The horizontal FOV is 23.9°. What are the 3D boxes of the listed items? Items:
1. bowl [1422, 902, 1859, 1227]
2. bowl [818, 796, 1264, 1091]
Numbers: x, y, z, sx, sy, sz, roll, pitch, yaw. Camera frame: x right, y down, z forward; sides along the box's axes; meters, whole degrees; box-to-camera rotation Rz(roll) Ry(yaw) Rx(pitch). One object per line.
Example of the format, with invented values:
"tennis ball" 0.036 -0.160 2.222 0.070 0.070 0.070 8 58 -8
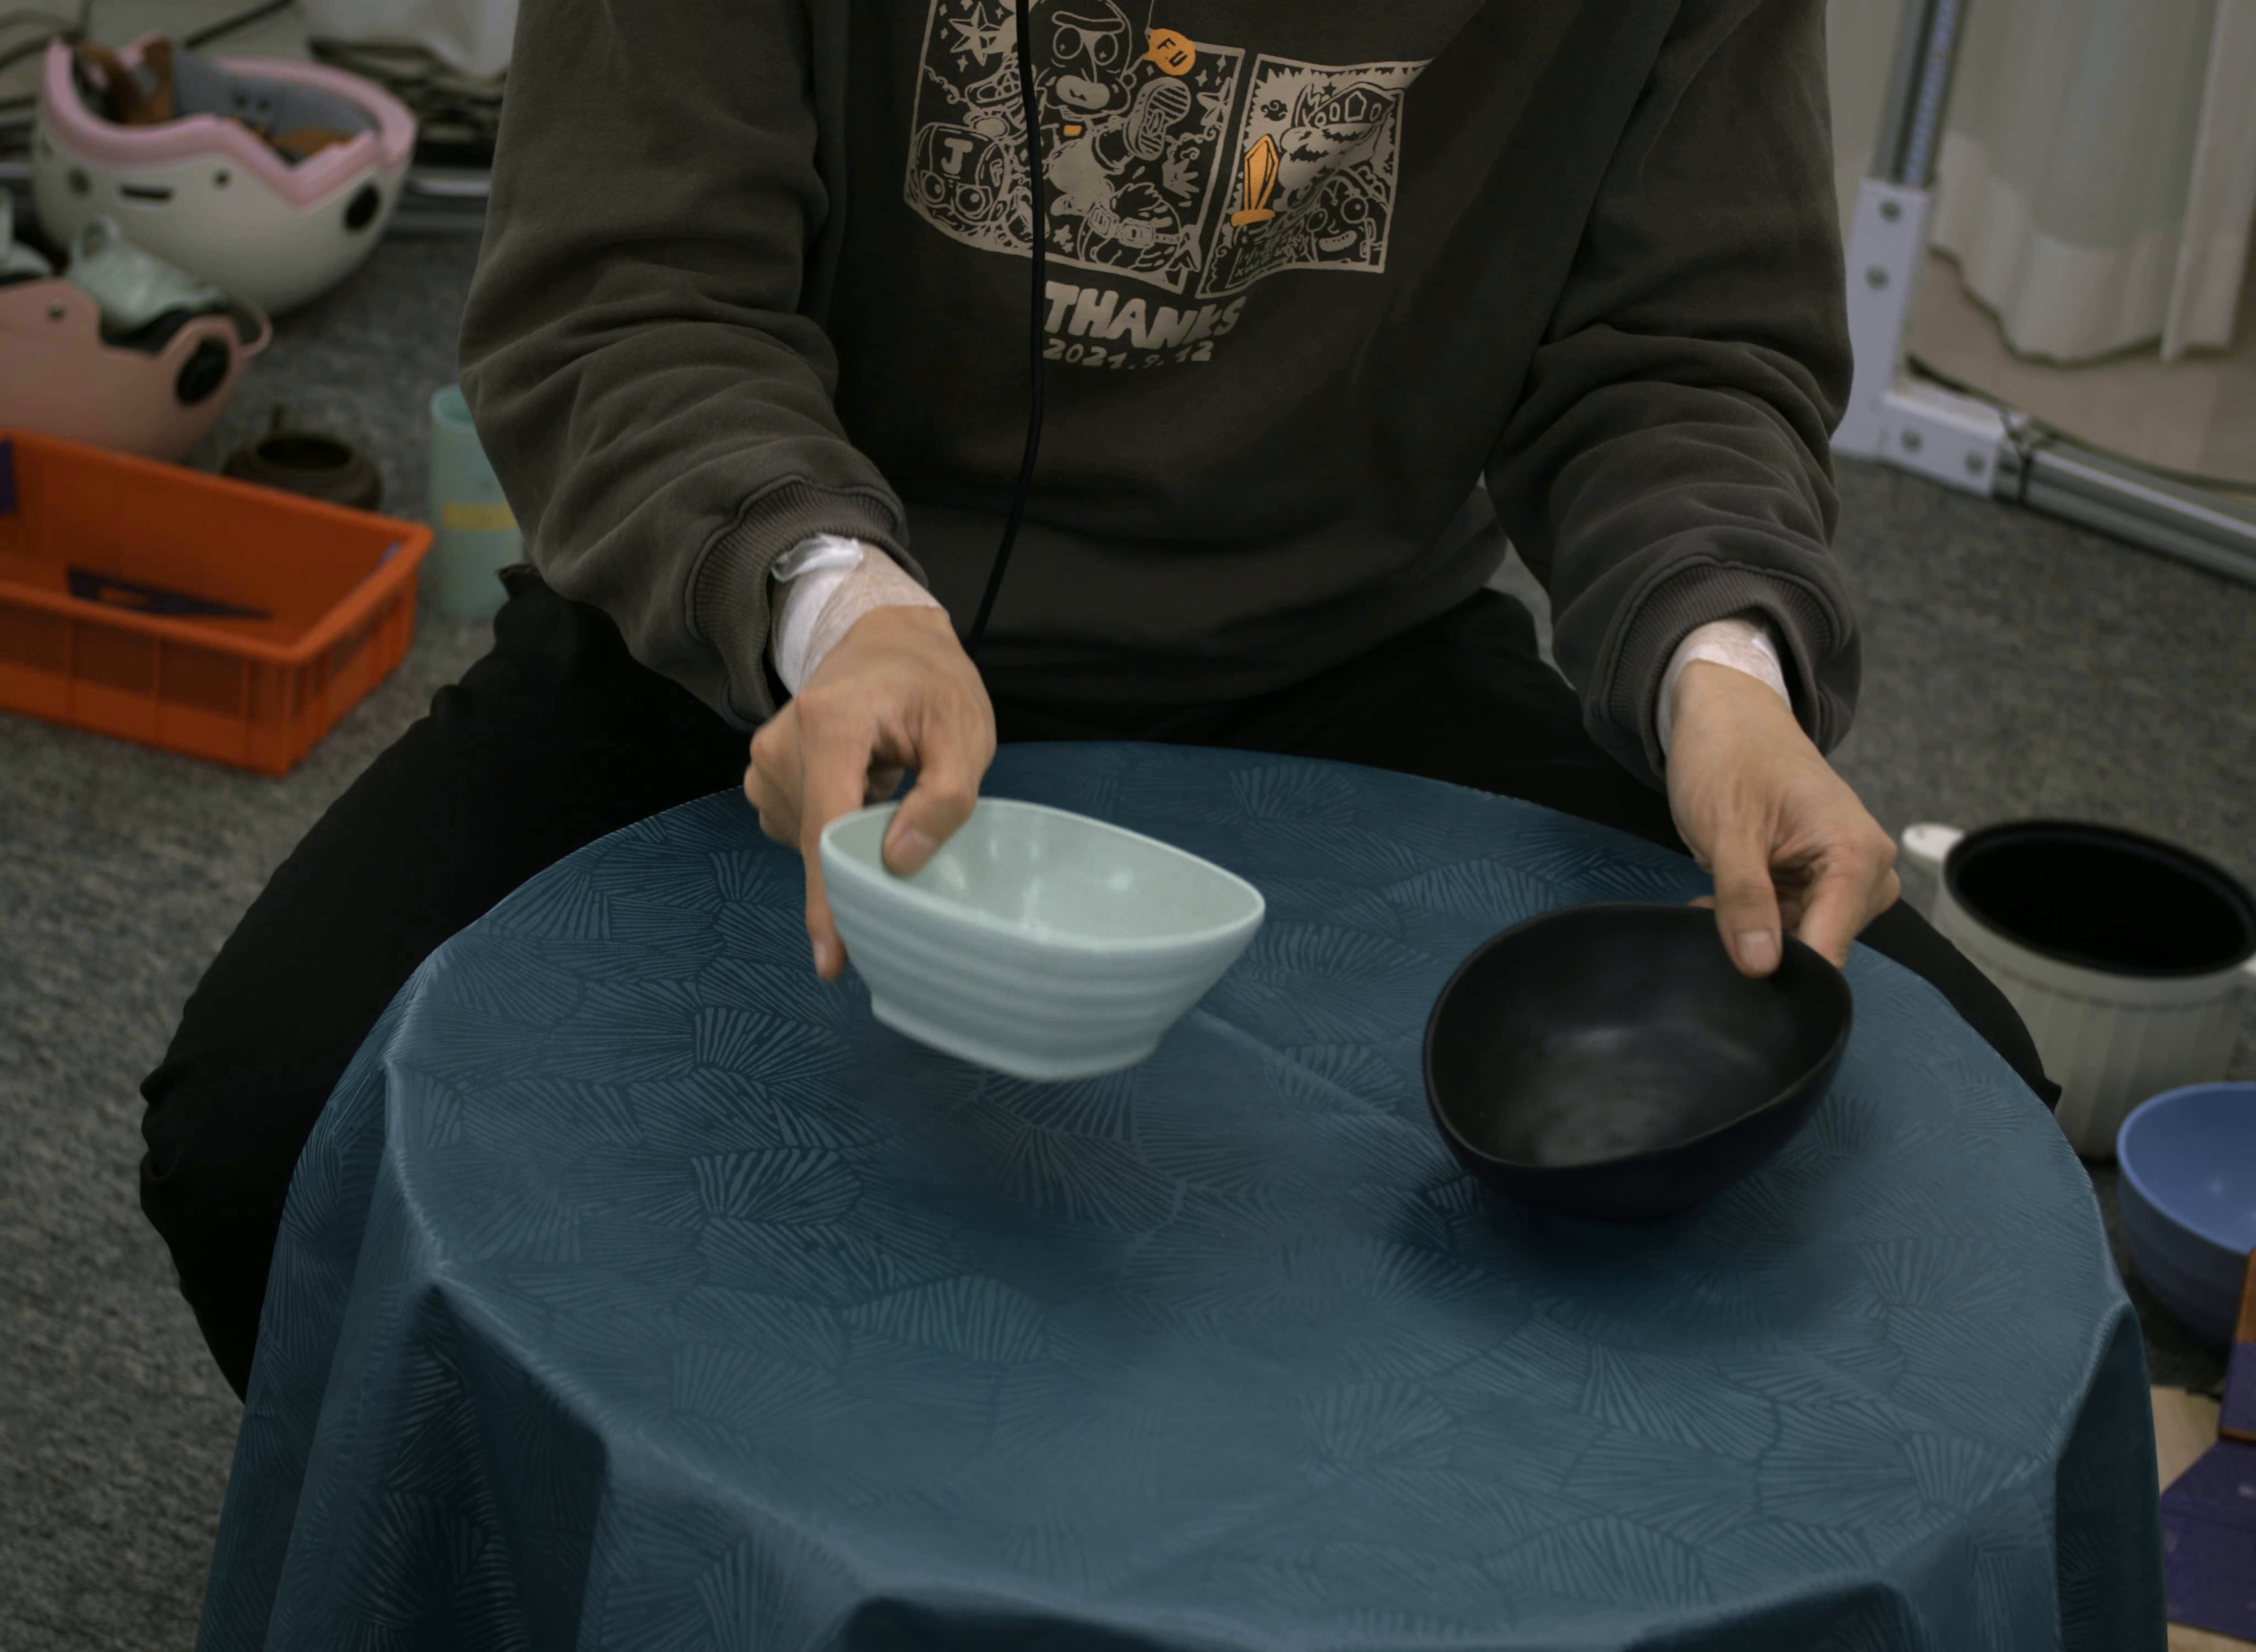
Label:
"bowl" 0.175 0.093 1.826 0.138 0.066 0.170 21 38 33
"bowl" -0.033 0.043 1.769 0.151 0.058 0.152 10 18 -4
